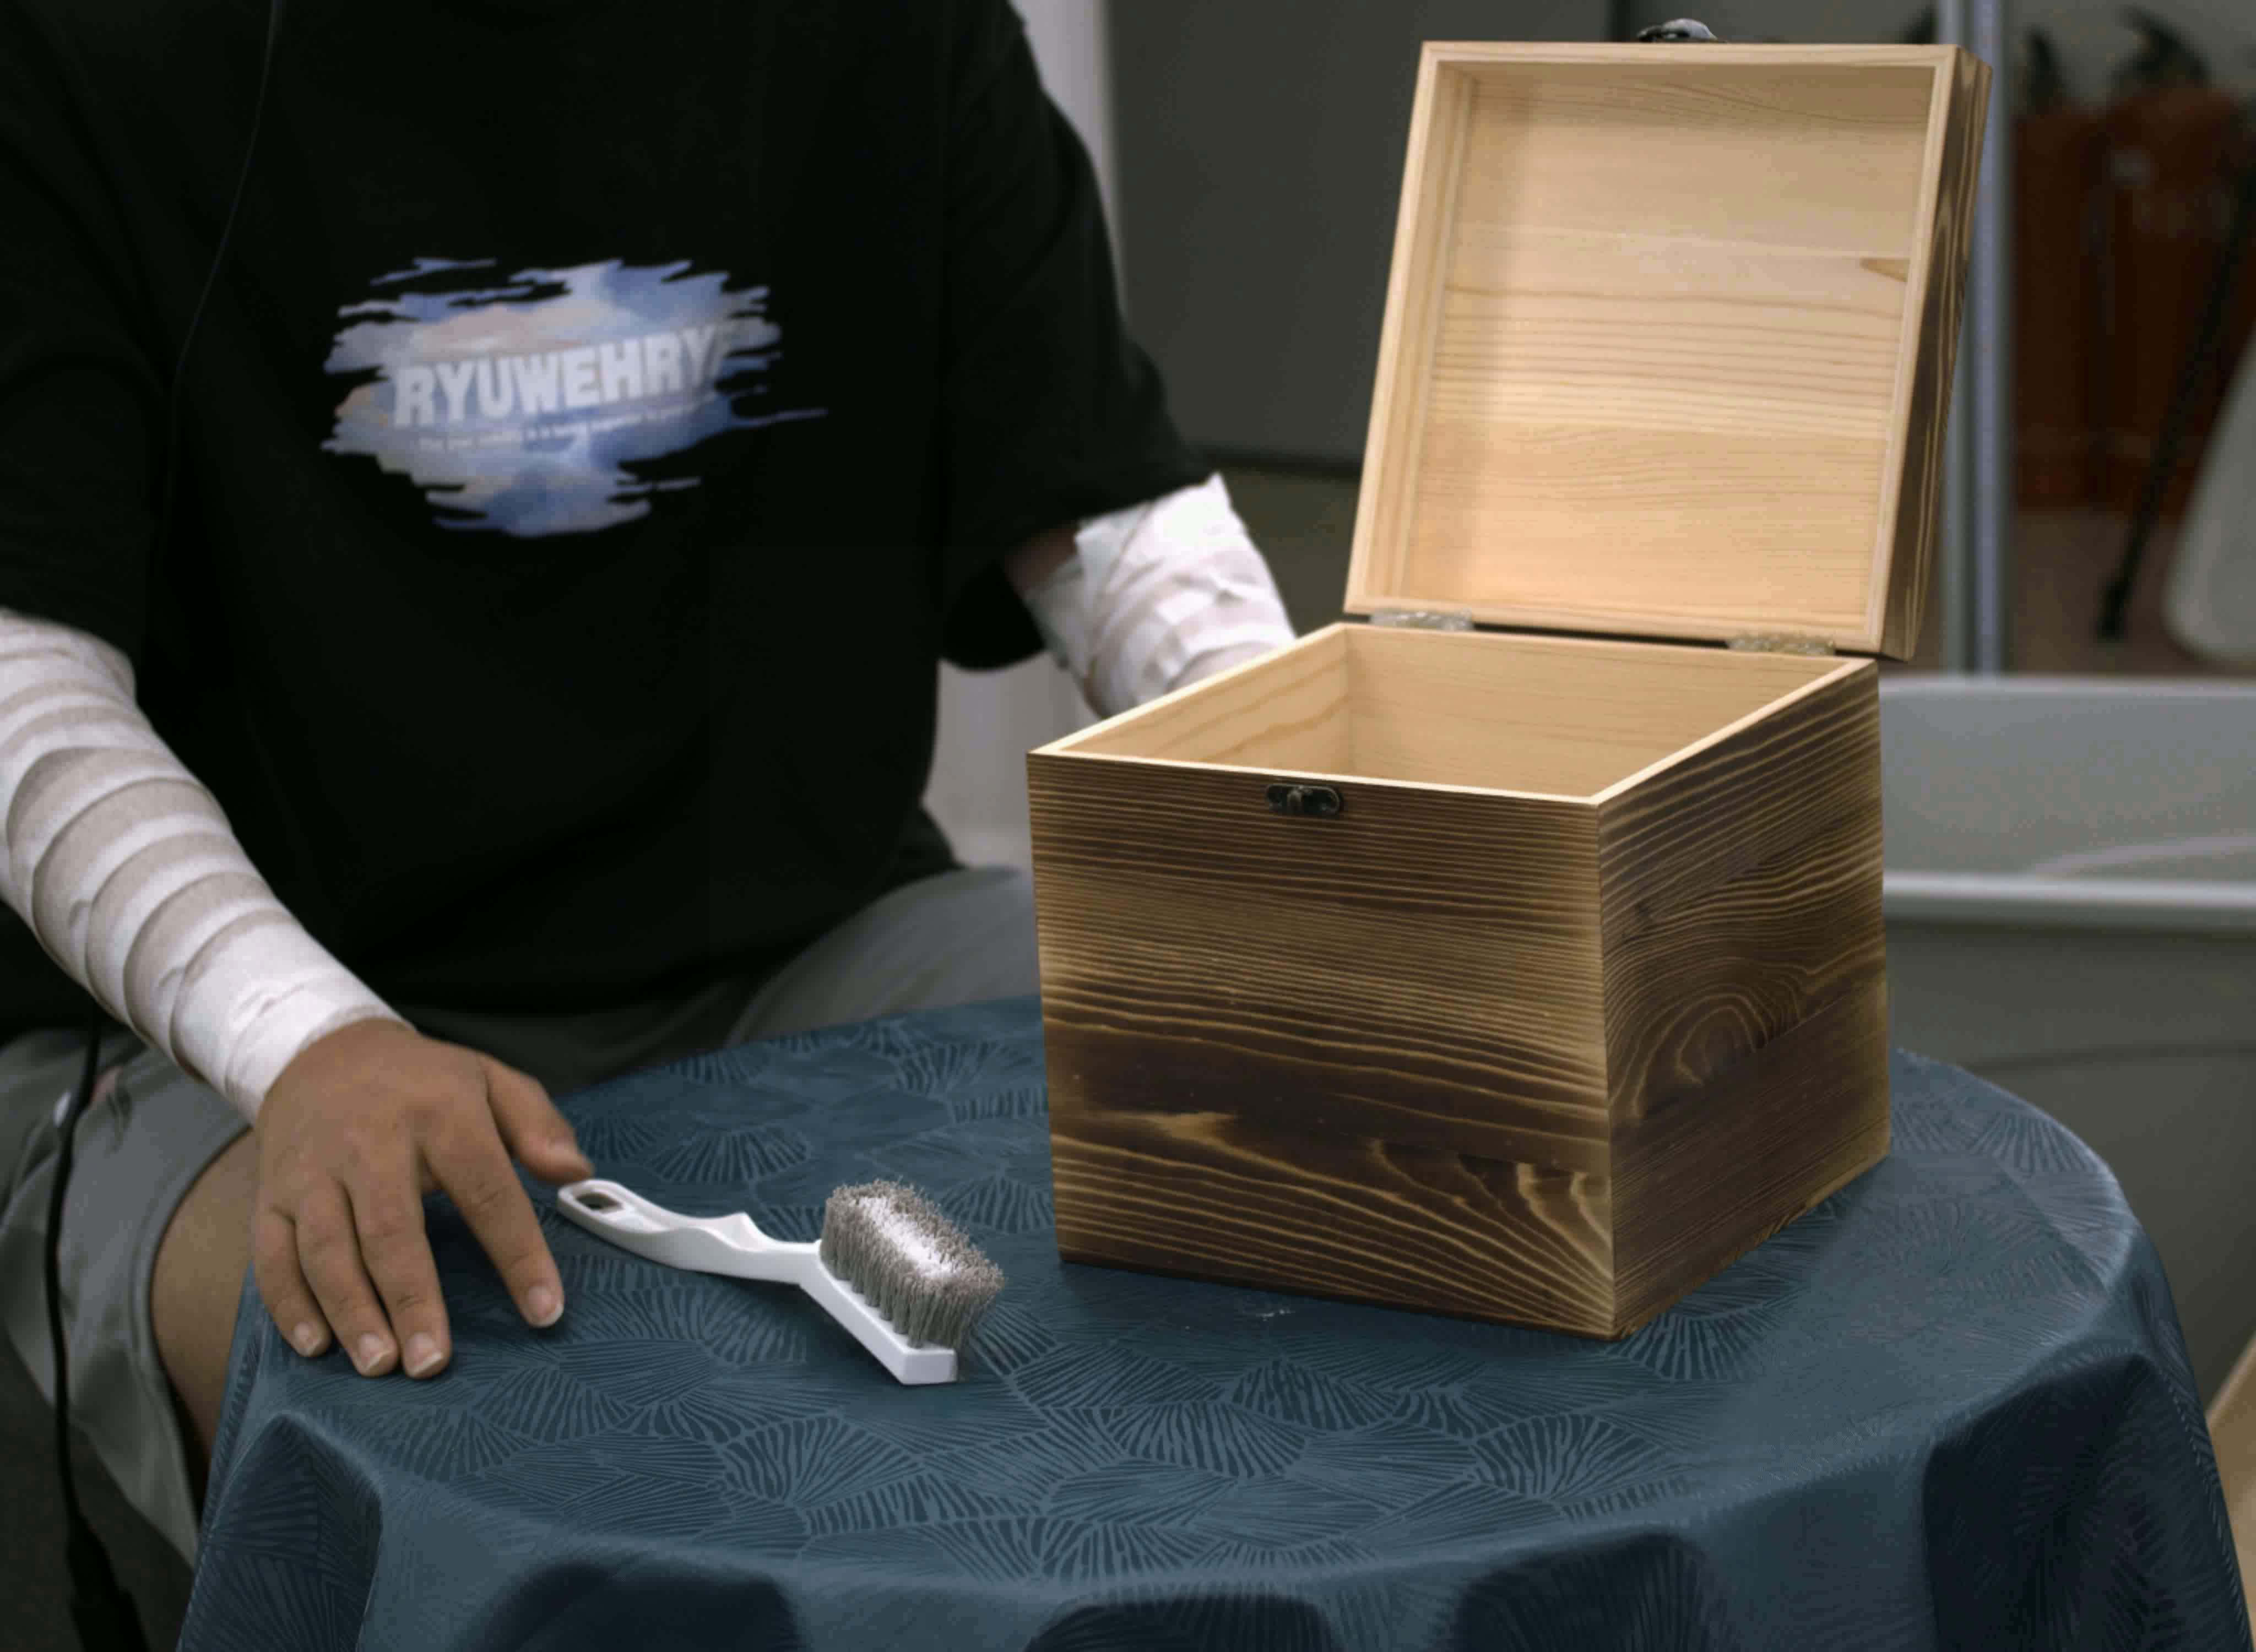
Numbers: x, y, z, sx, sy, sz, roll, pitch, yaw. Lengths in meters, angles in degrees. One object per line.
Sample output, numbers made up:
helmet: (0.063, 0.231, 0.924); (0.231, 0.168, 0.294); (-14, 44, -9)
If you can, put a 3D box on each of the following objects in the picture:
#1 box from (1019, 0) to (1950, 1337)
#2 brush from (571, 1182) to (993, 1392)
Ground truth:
box: (0.126, -0.067, 1.732); (0.210, 0.379, 0.317); (3, 15, 33)
brush: (-0.114, 0.124, 1.691); (0.033, 0.051, 0.246); (-11, 16, -30)
